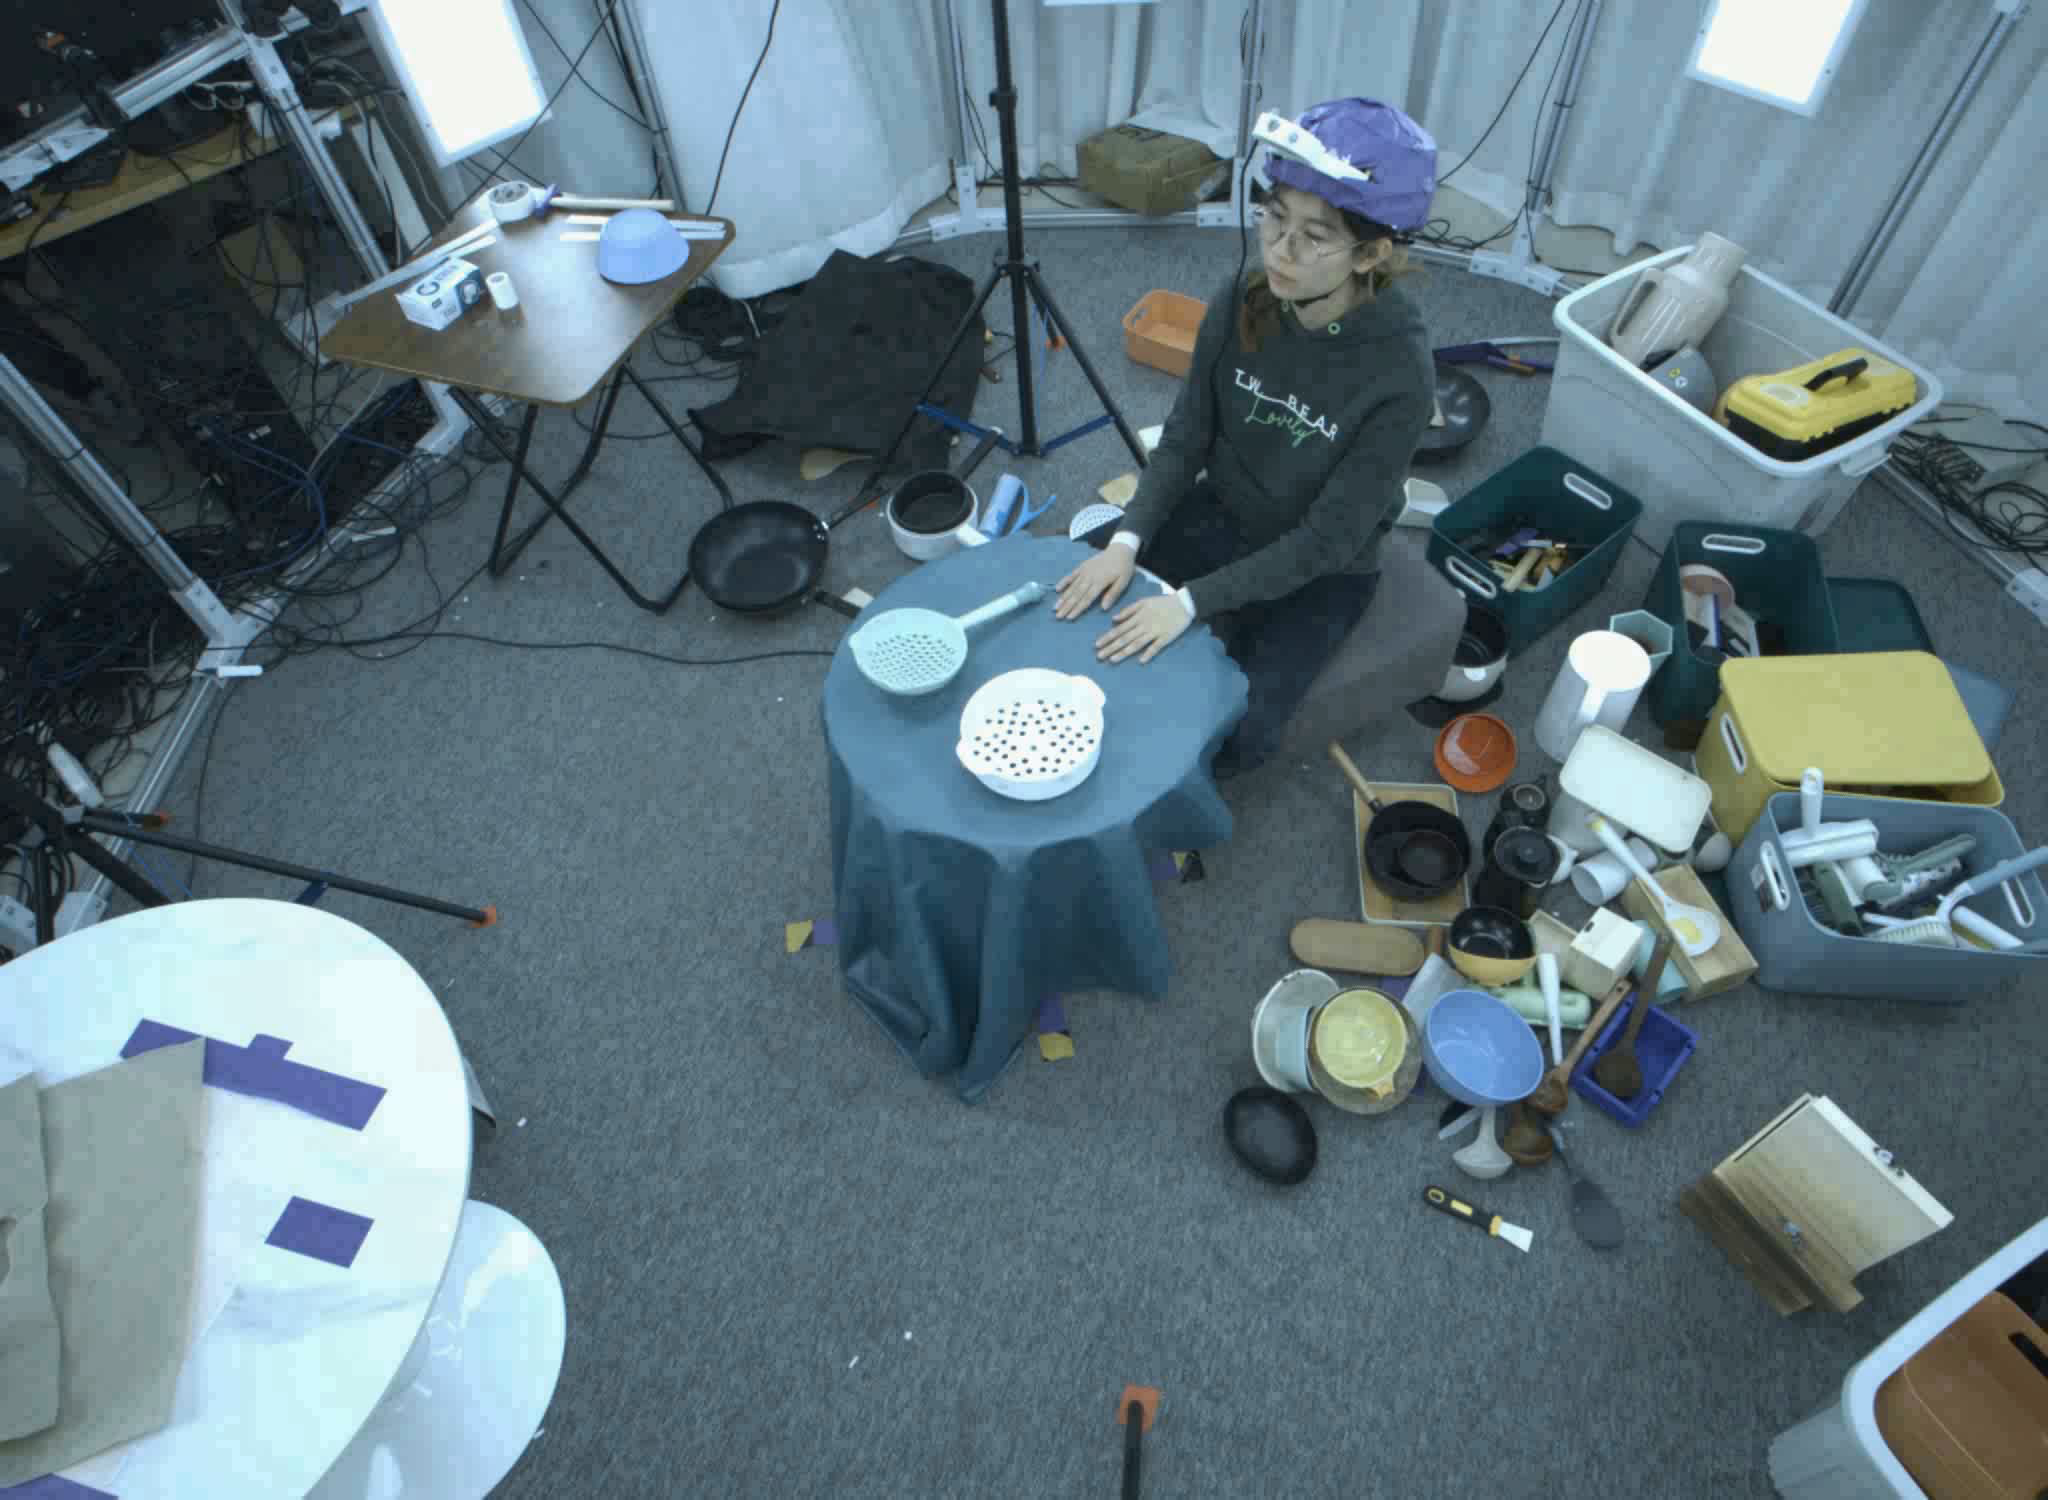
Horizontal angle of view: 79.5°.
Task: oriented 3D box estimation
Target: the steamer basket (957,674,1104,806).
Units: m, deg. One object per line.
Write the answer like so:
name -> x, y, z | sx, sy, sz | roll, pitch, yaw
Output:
steamer basket -> 0.011, -0.012, 1.767 | 0.232, 0.070, 0.198 | -32, 61, -19

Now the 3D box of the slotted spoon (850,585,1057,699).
slotted spoon -> -0.093, -0.186, 1.892 | 0.361, 0.076, 0.166 | -34, 61, -20
